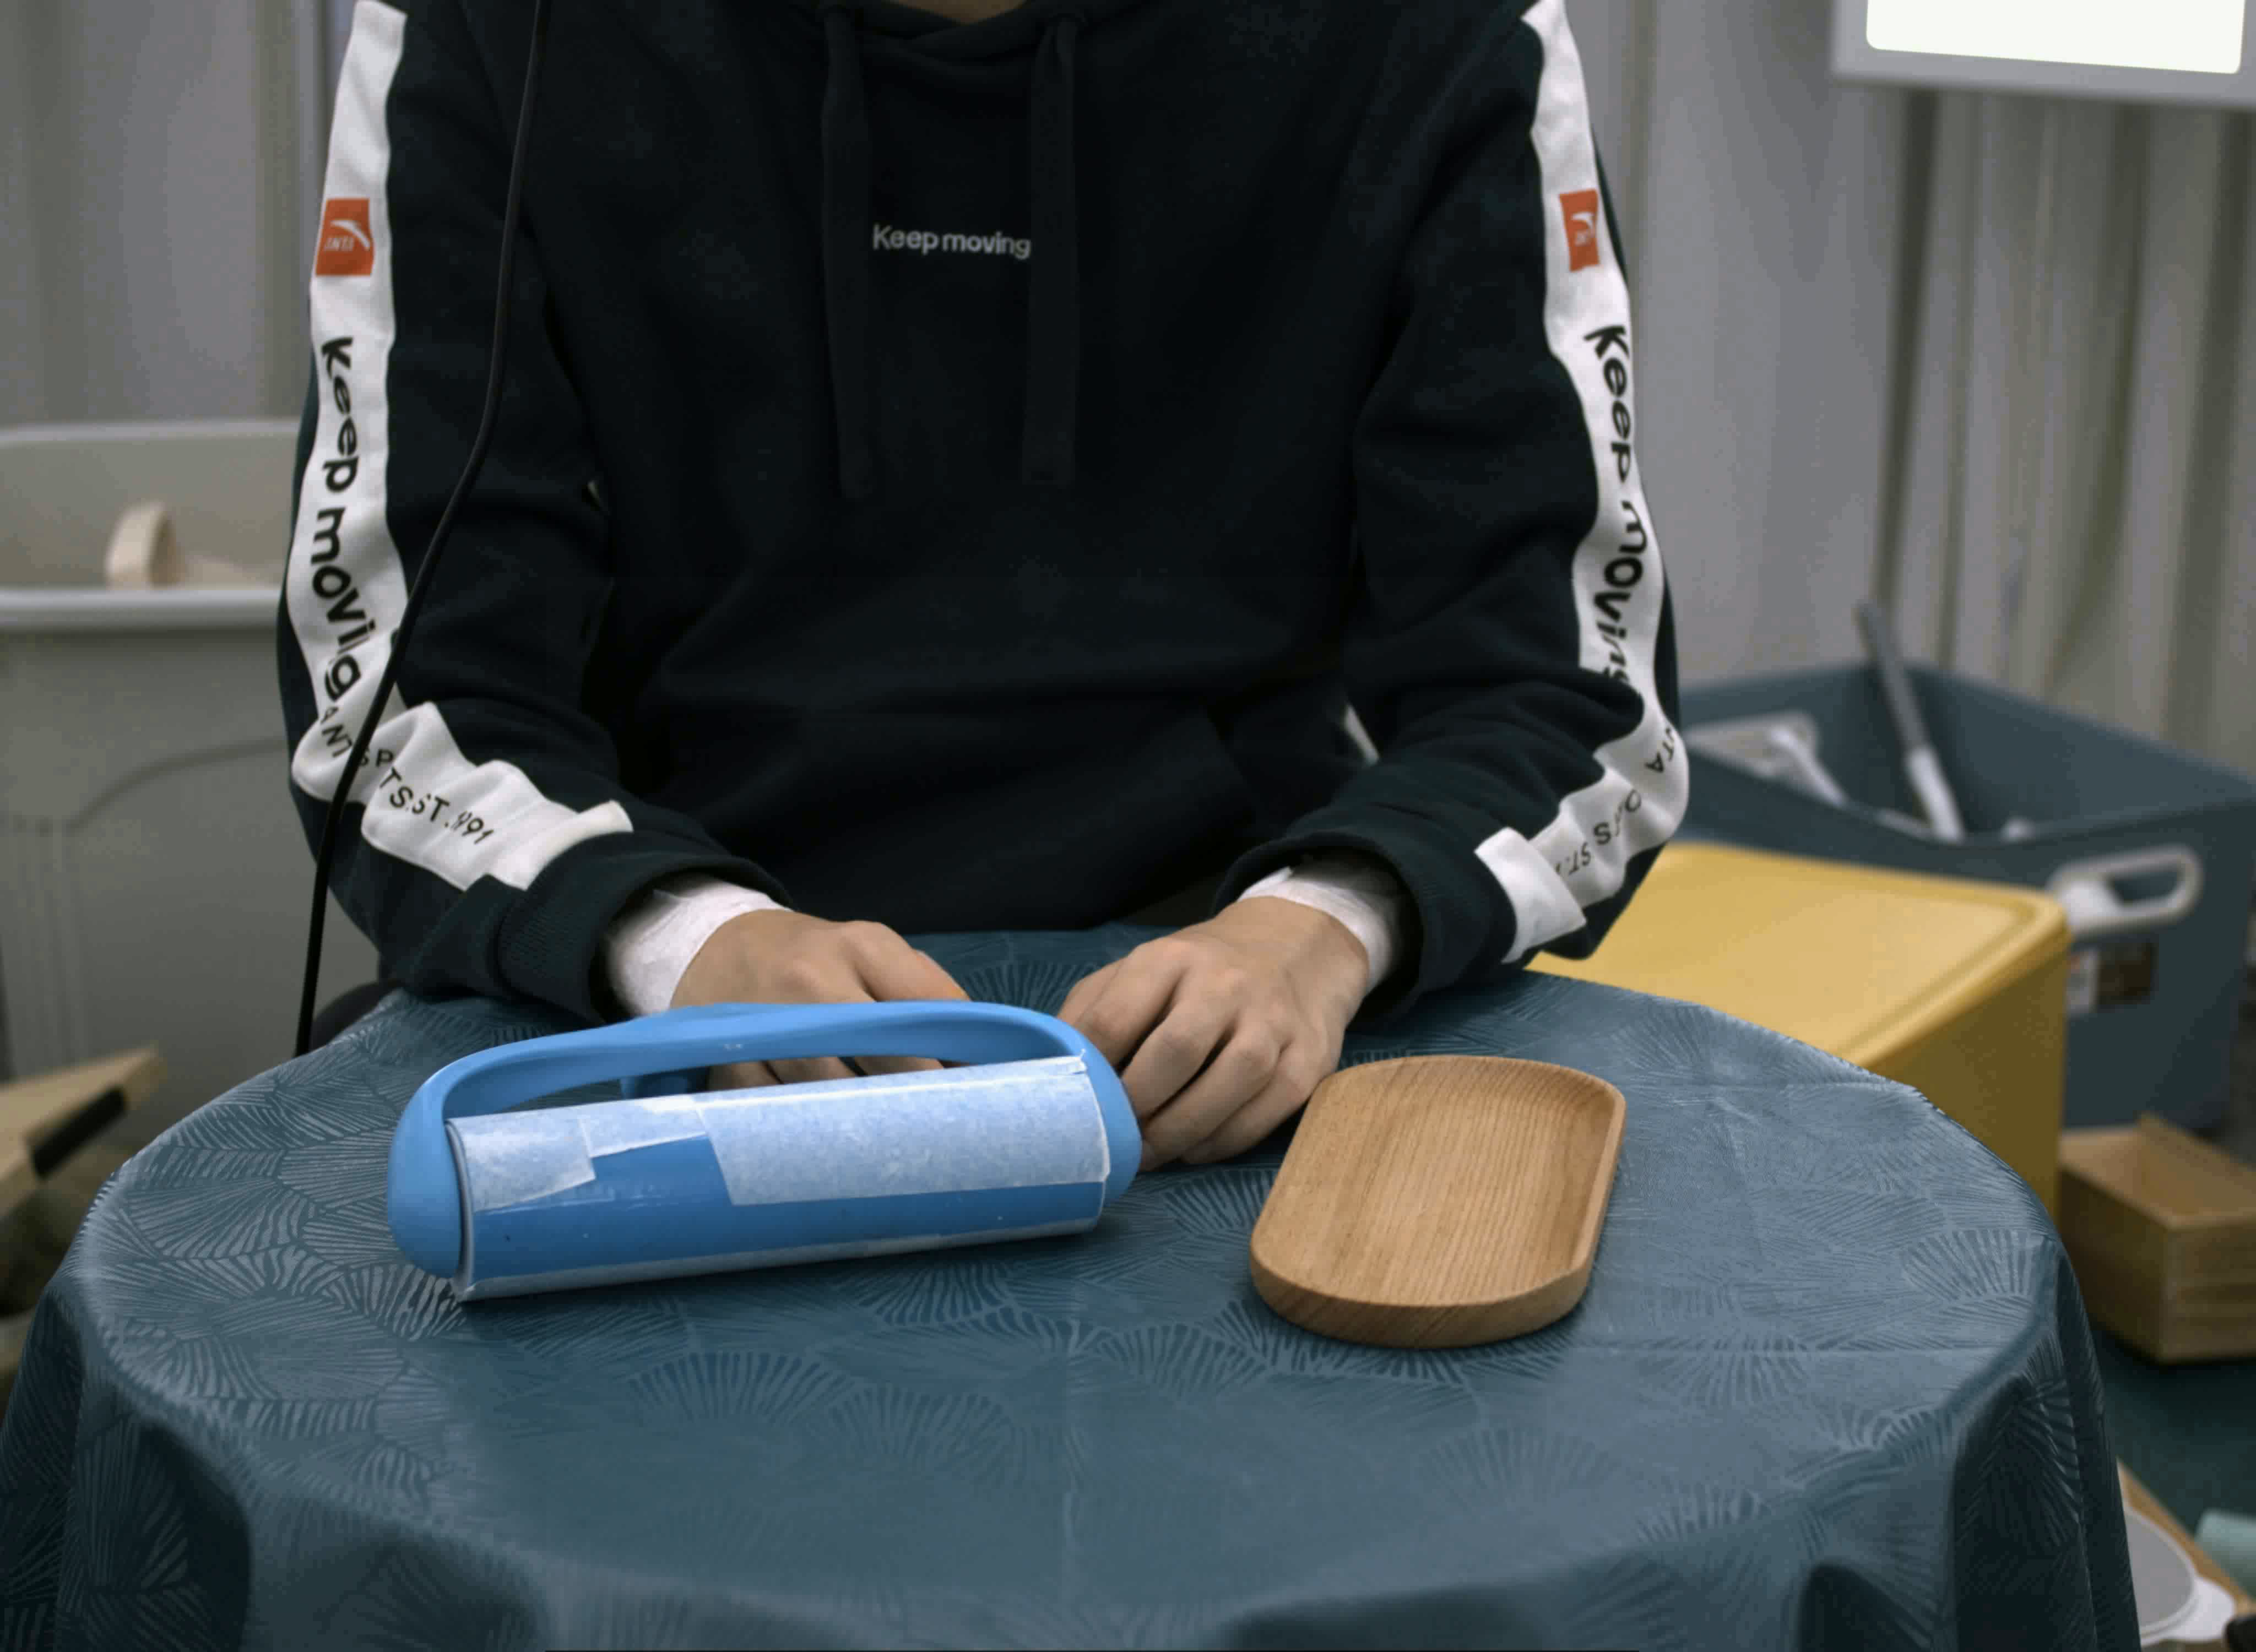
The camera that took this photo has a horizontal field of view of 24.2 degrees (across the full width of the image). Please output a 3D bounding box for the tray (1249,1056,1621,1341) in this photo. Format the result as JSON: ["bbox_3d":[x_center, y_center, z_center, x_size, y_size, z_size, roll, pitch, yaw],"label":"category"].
[{"bbox_3d":[0.095,0.111,1.599,0.101,0.020,0.230,4,14,8],"label":"tray"}]

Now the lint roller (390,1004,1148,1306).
[{"bbox_3d":[-0.125,0.087,1.600,0.229,0.068,0.178,-7,18,-21],"label":"lint roller"}]
